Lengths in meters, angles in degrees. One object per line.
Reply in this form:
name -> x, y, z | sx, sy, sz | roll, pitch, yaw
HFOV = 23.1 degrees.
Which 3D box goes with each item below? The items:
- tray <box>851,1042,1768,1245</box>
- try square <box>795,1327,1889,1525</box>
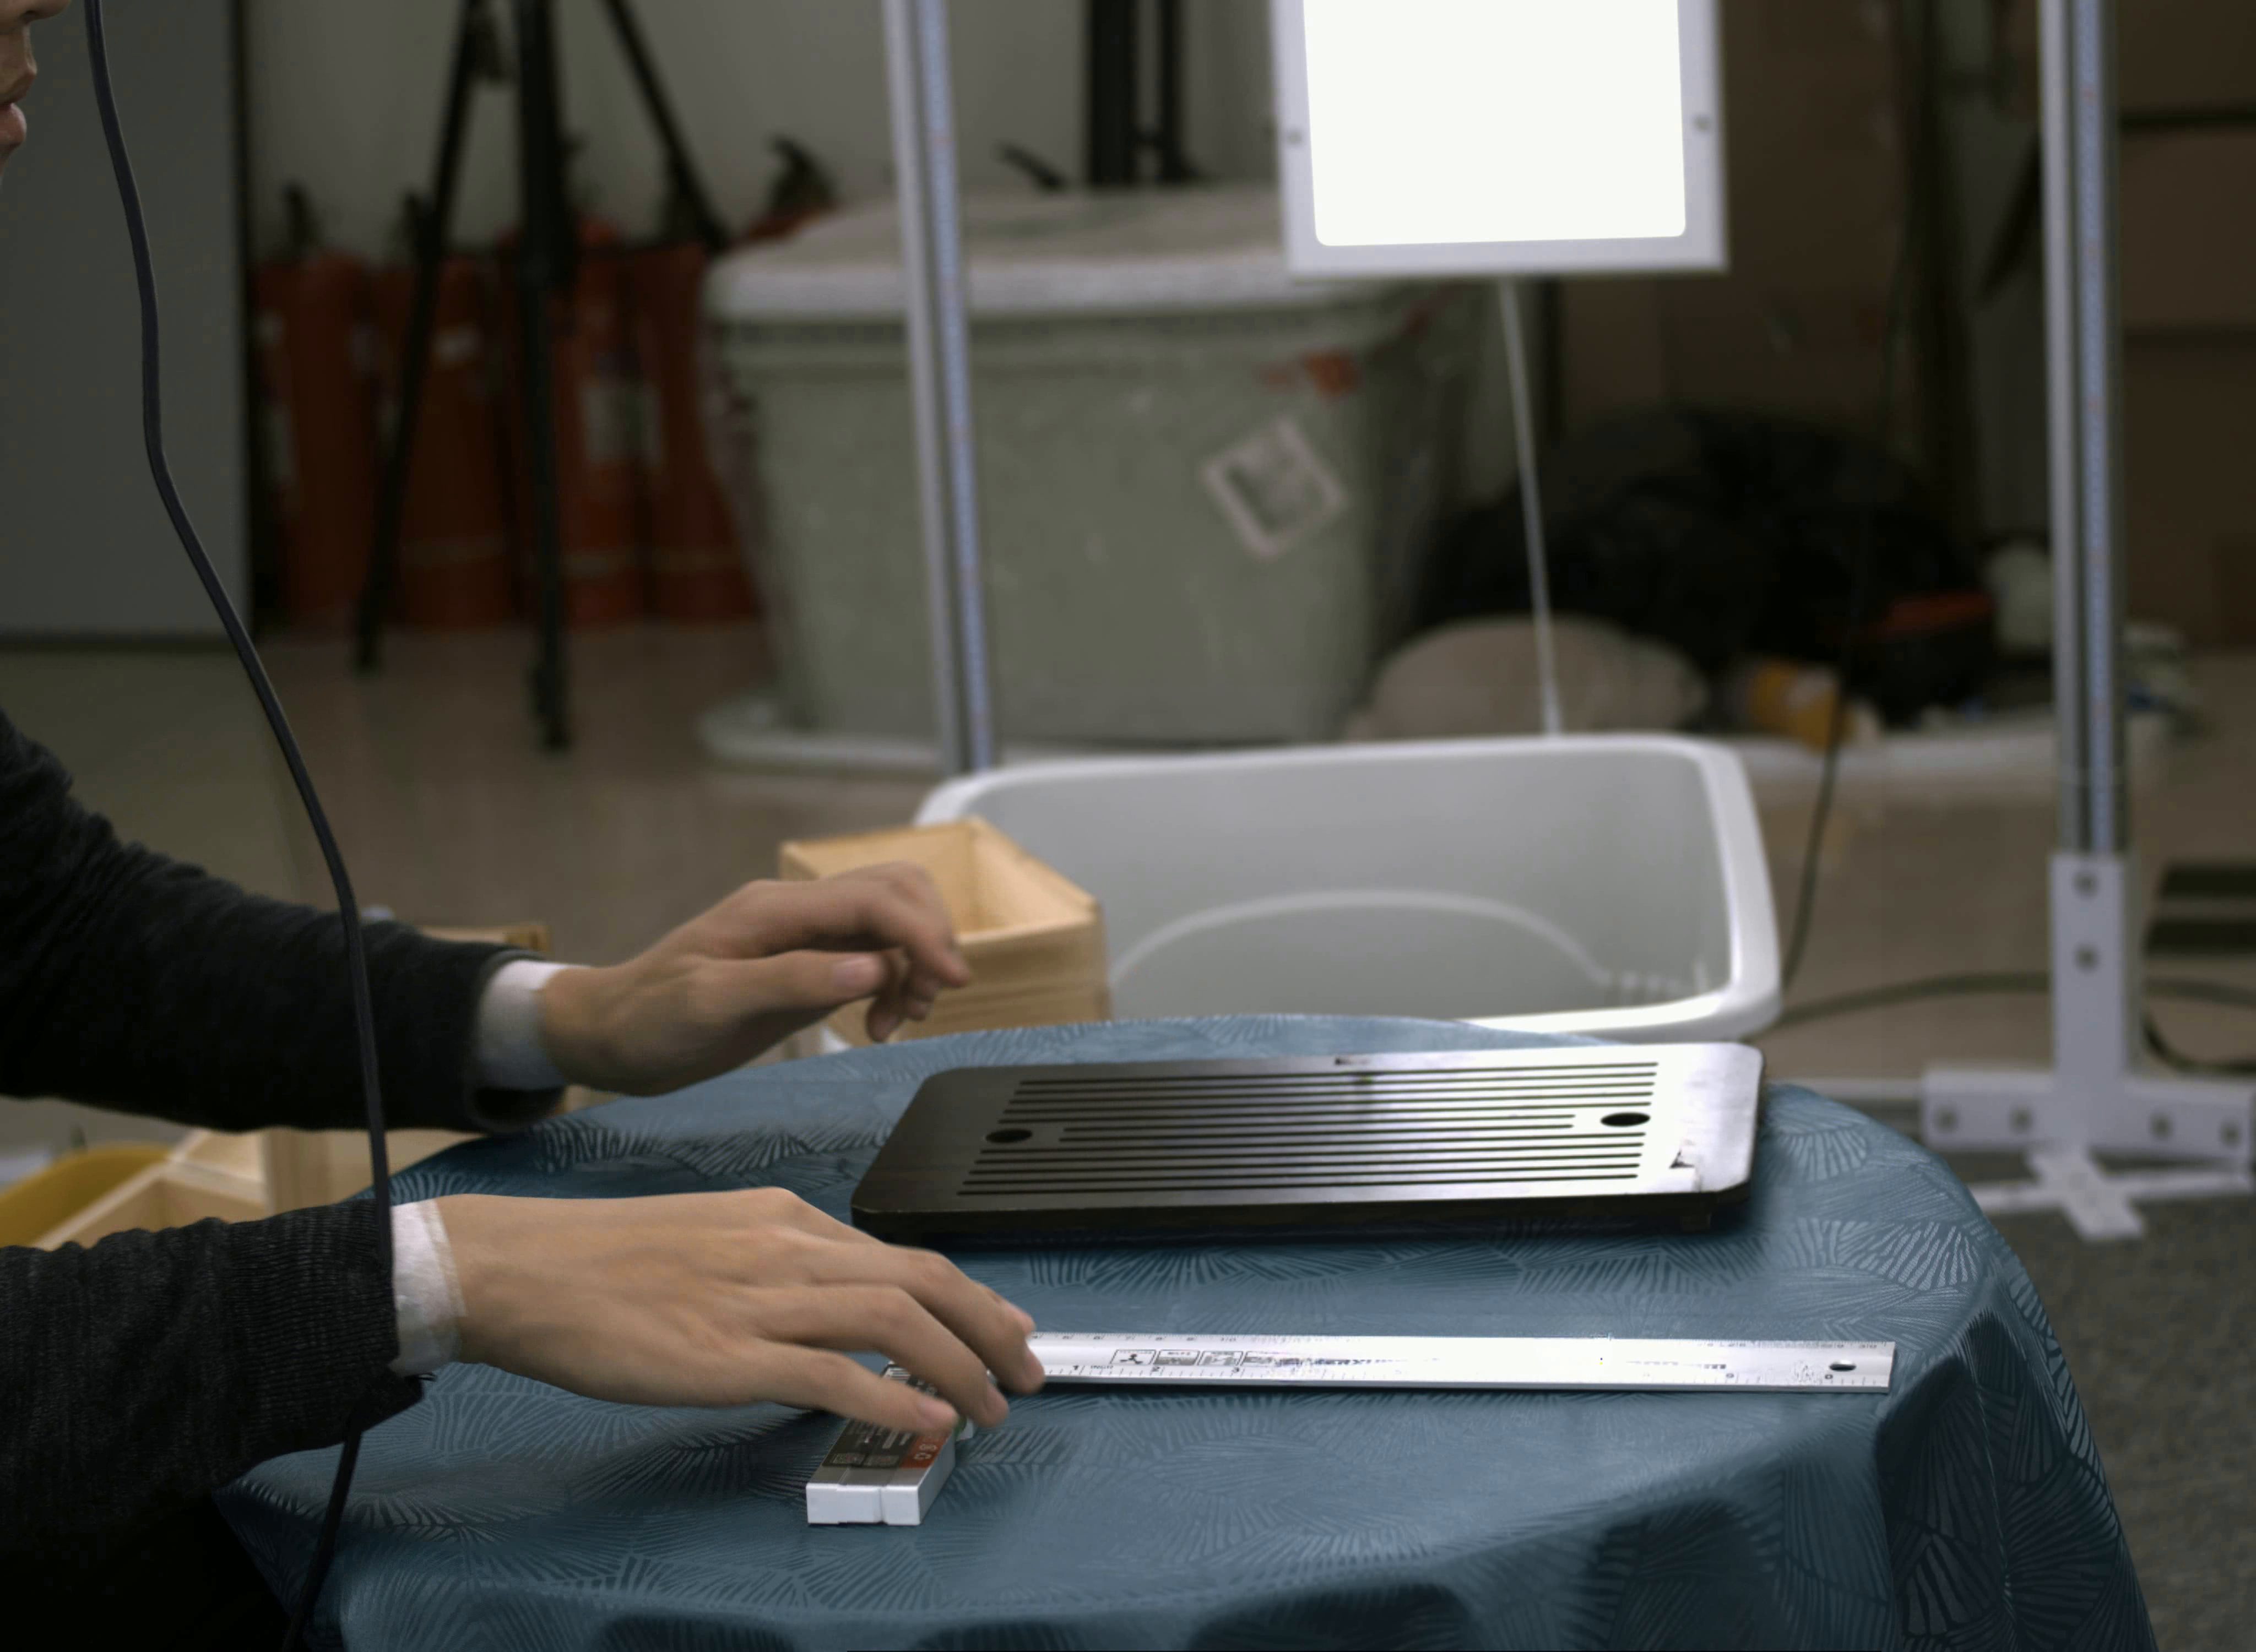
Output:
tray -> 0.067, 0.110, 1.903 | 0.308, 0.019, 0.168 | -2, 14, 12
try square -> 0.068, 0.178, 1.645 | 0.315, 0.016, 0.150 | -1, 14, 14
